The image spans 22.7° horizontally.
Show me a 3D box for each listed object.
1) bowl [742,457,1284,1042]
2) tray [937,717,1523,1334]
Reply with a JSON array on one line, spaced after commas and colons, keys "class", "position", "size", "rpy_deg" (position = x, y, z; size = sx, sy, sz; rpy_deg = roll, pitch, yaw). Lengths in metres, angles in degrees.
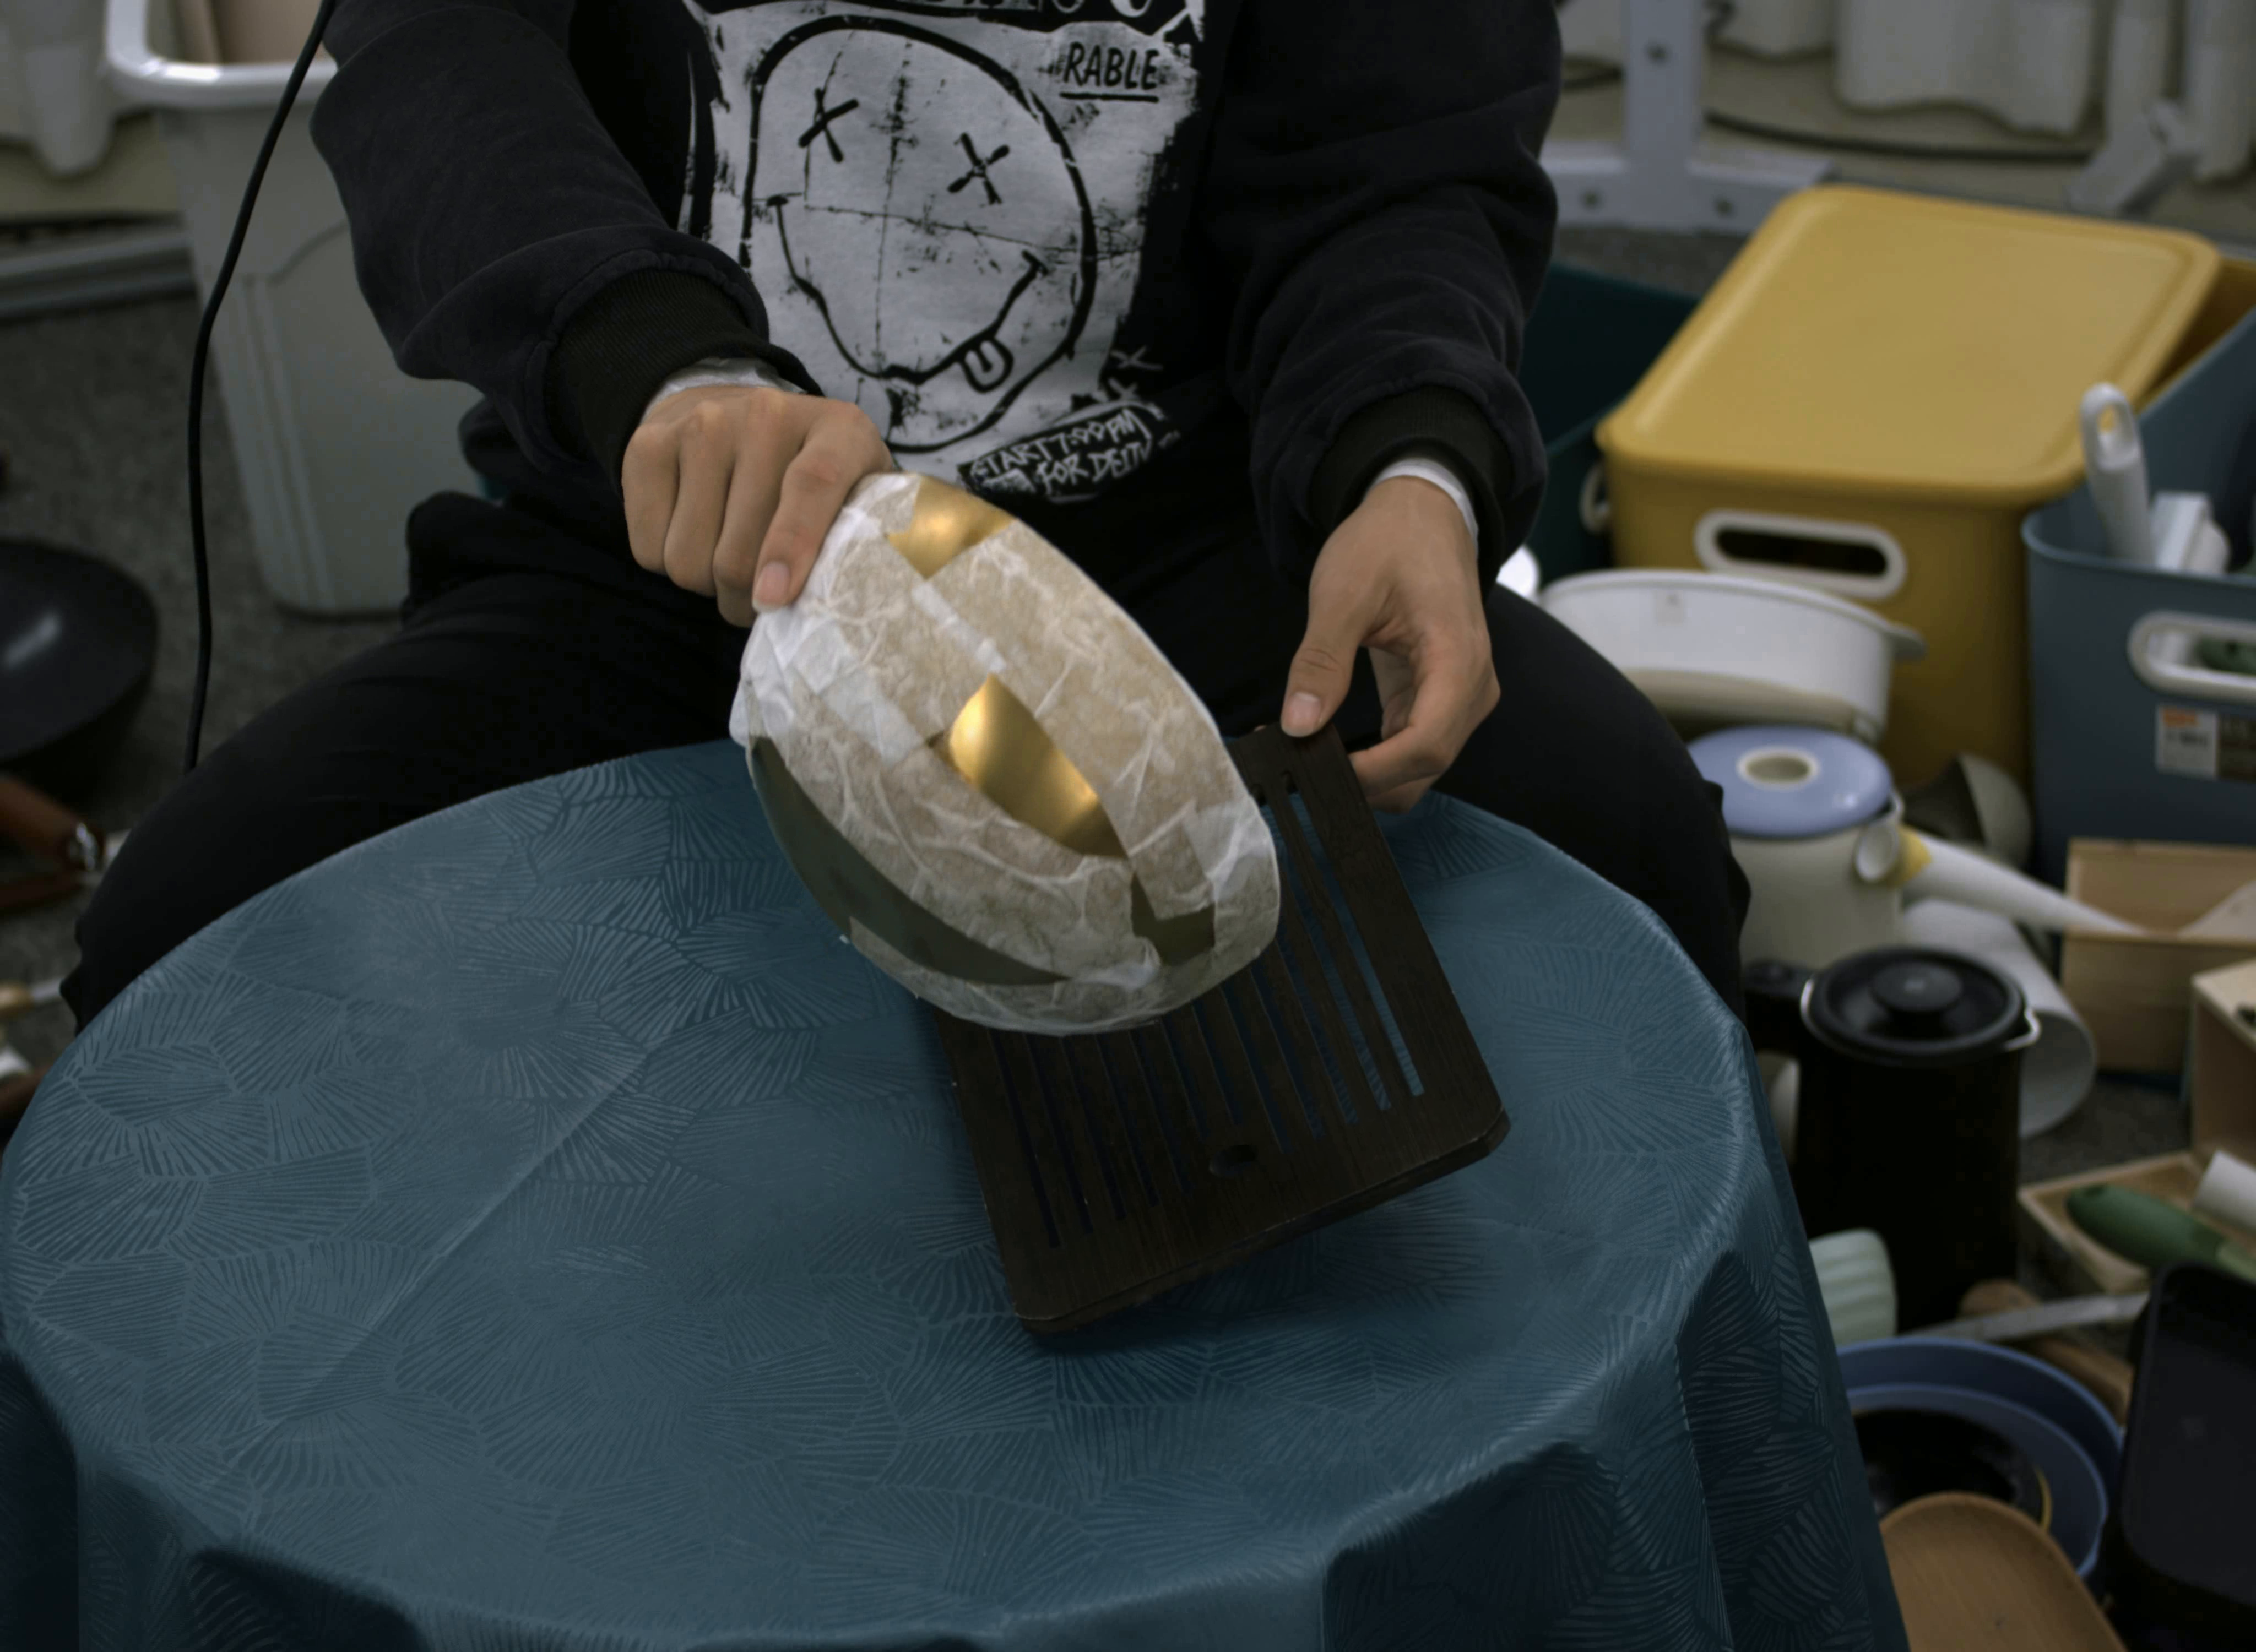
[{"class": "bowl", "position": [-0.055, -0.004, 1.777], "size": [0.095, 0.212, 0.215], "rpy_deg": [-41, 42, -22]}, {"class": "tray", "position": [0.024, 0.064, 1.901], "size": [0.169, 0.018, 0.309], "rpy_deg": [-23, 28, 1]}]
